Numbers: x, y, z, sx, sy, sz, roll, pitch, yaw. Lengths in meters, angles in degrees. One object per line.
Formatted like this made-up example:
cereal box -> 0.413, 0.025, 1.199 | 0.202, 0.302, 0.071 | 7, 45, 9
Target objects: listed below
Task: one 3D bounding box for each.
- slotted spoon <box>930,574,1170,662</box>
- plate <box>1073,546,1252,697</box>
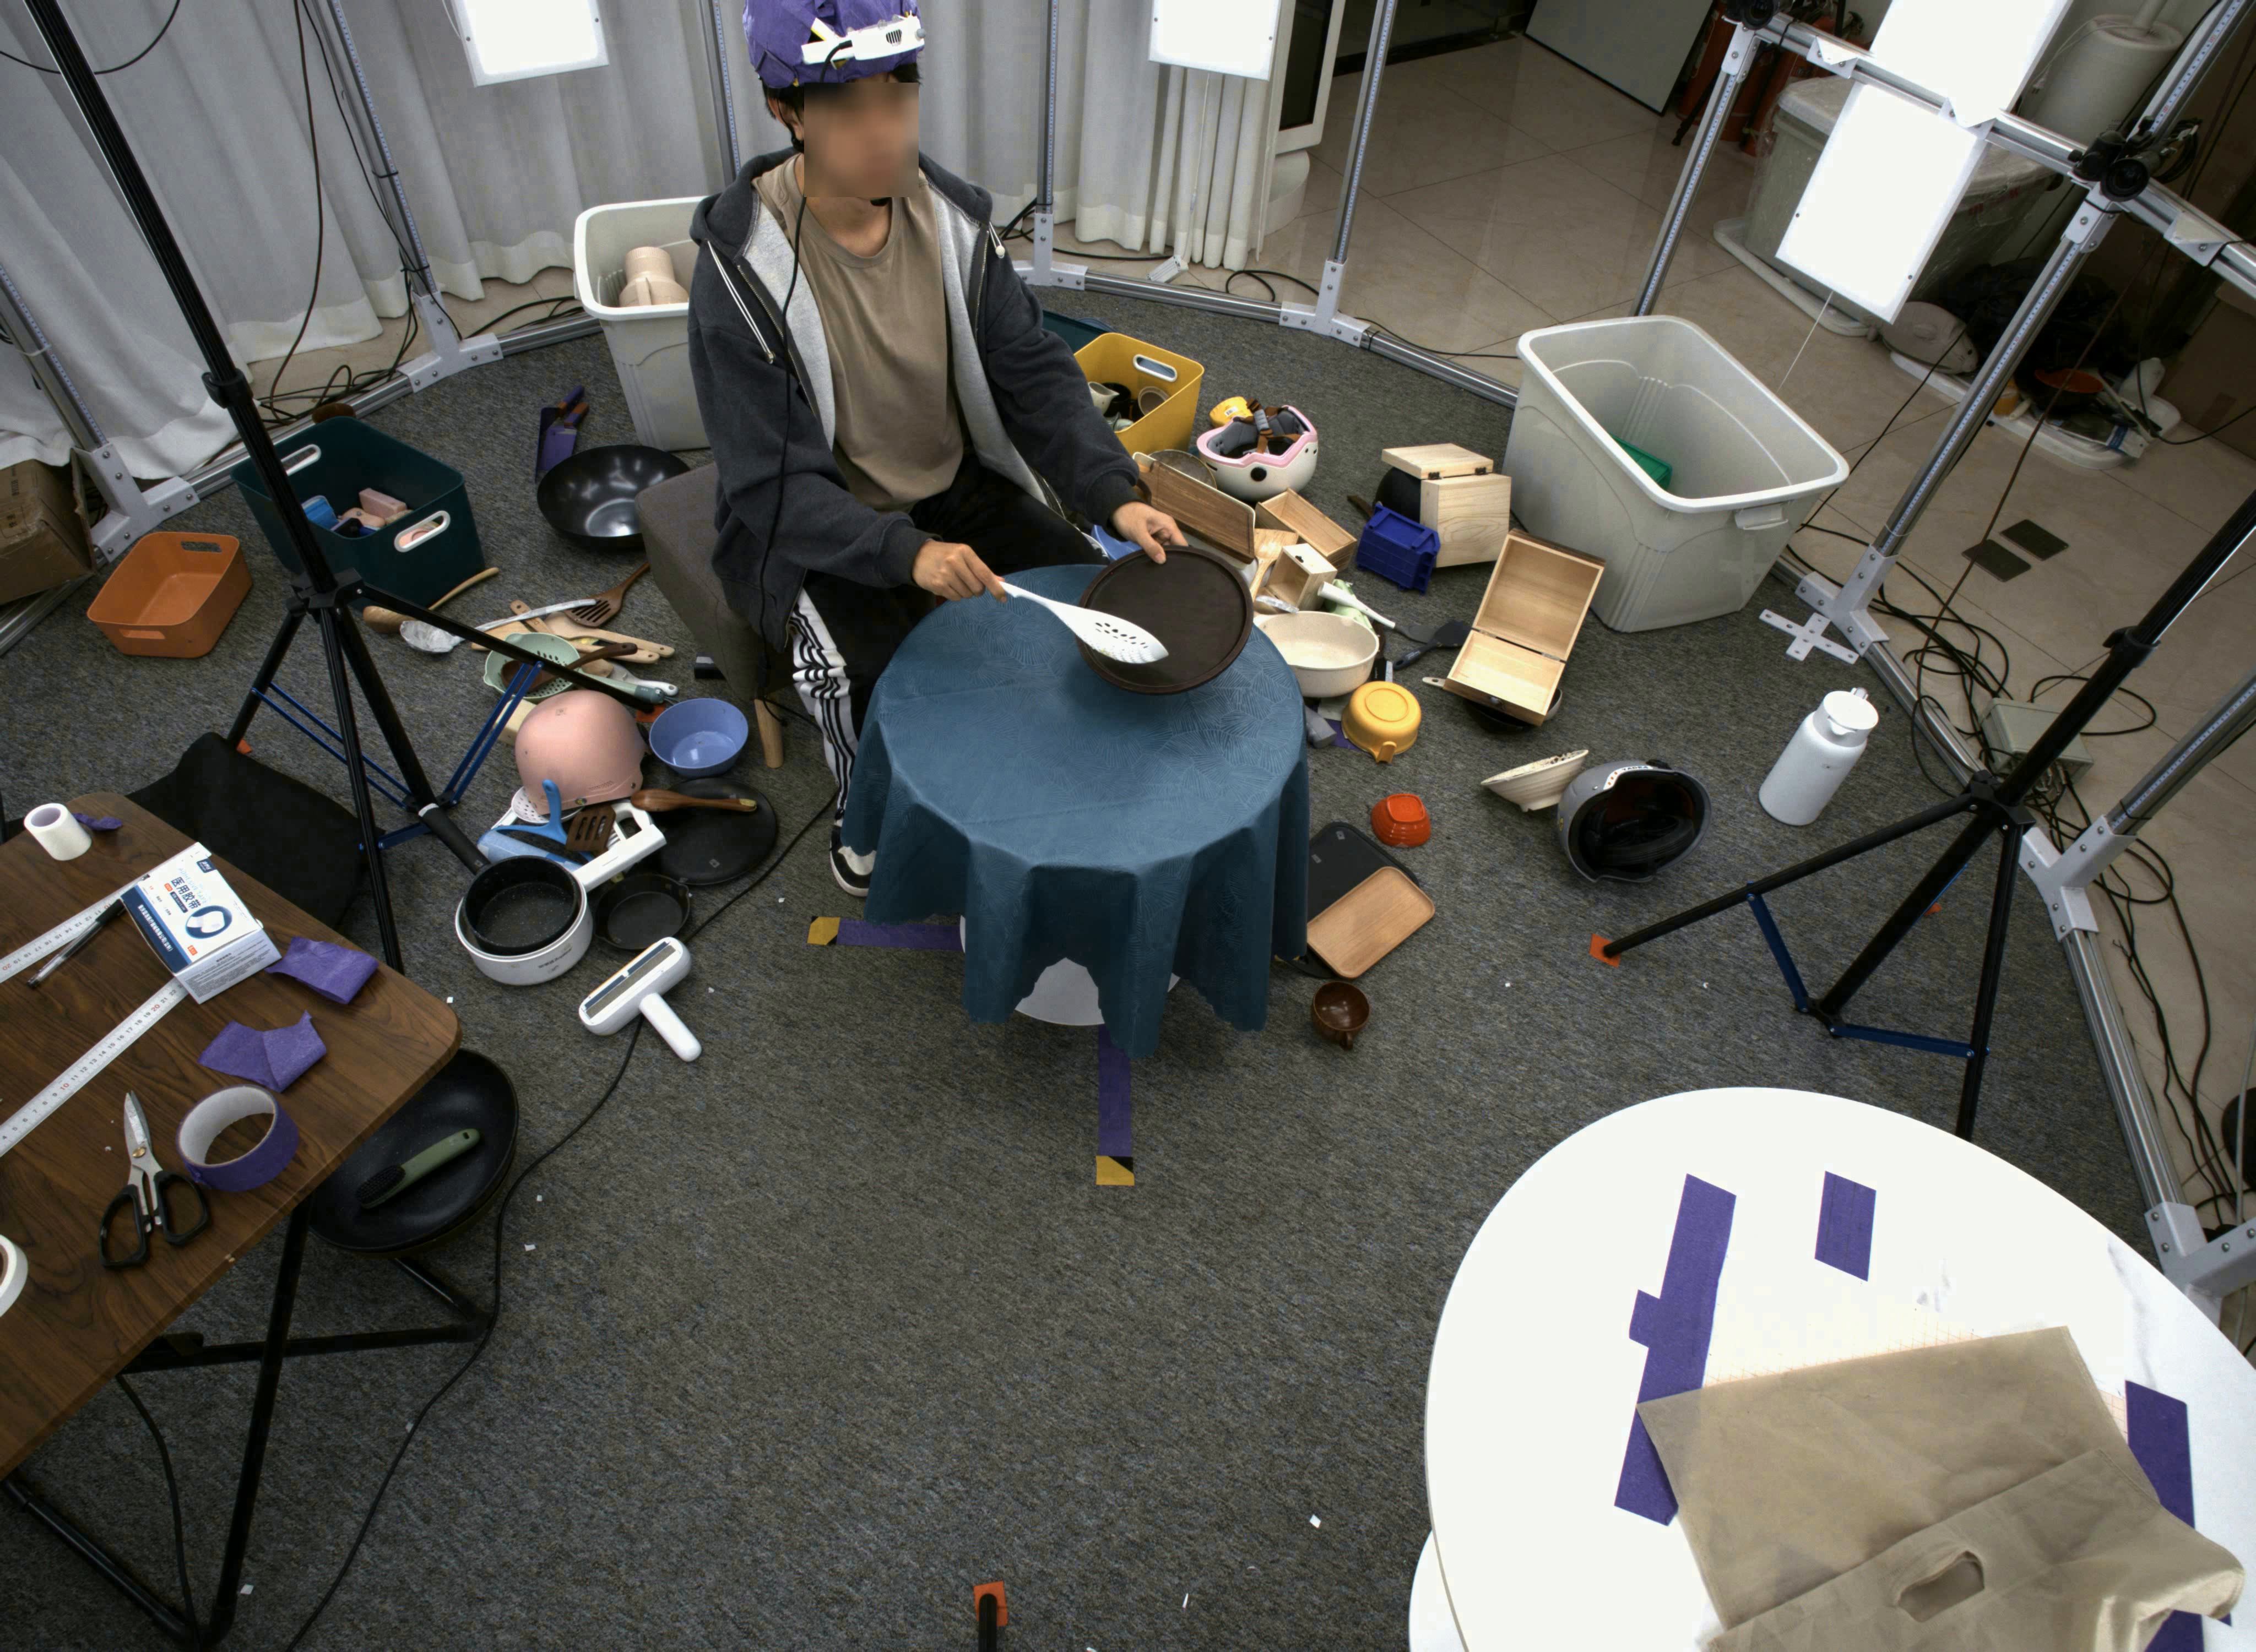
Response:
slotted spoon -> -0.108, -0.288, 1.720 | 0.351, 0.135, 0.050 | 26, 90, 18
plate -> 0.049, -0.288, 1.801 | 0.255, 0.028, 0.260 | -5, 61, 9
